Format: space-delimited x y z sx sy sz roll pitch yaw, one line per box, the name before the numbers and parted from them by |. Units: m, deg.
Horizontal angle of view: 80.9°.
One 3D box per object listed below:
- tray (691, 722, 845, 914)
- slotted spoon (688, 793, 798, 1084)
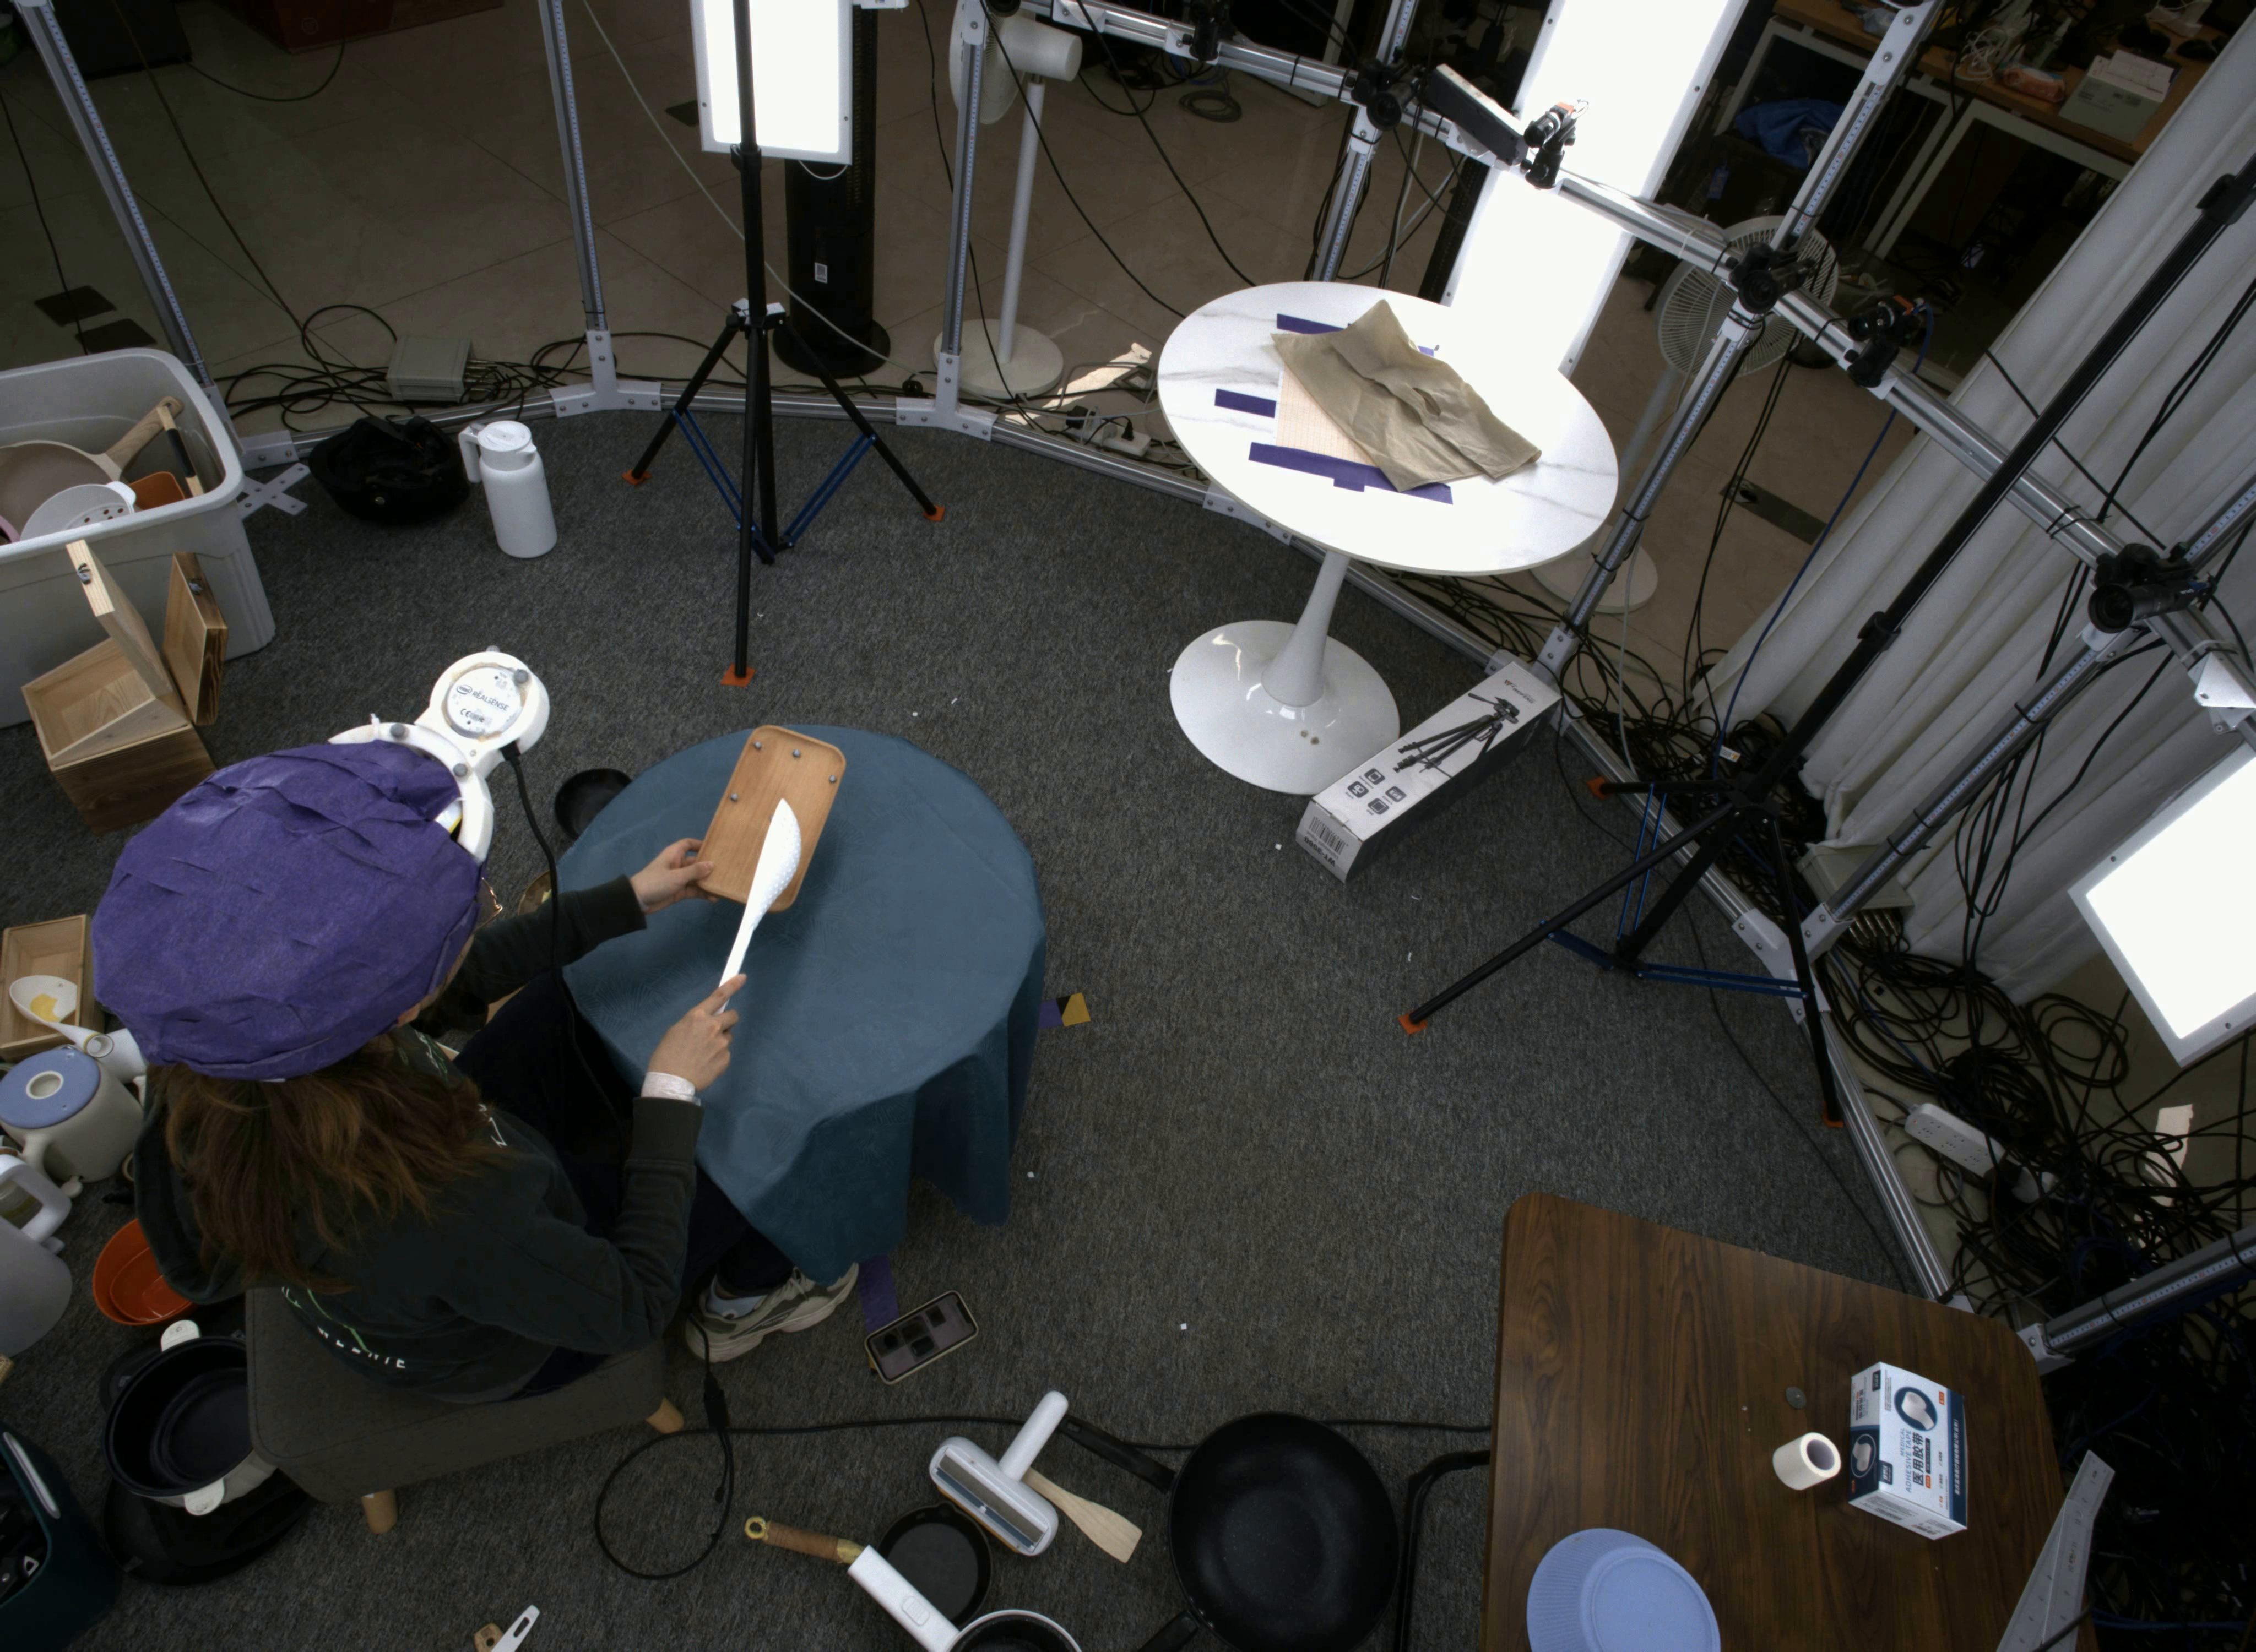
tray | -0.442 -0.013 1.598 0.131 0.023 0.248 19 59 -9
slotted spoon | -0.433 0.119 1.446 0.046 0.137 0.346 19 58 -6
